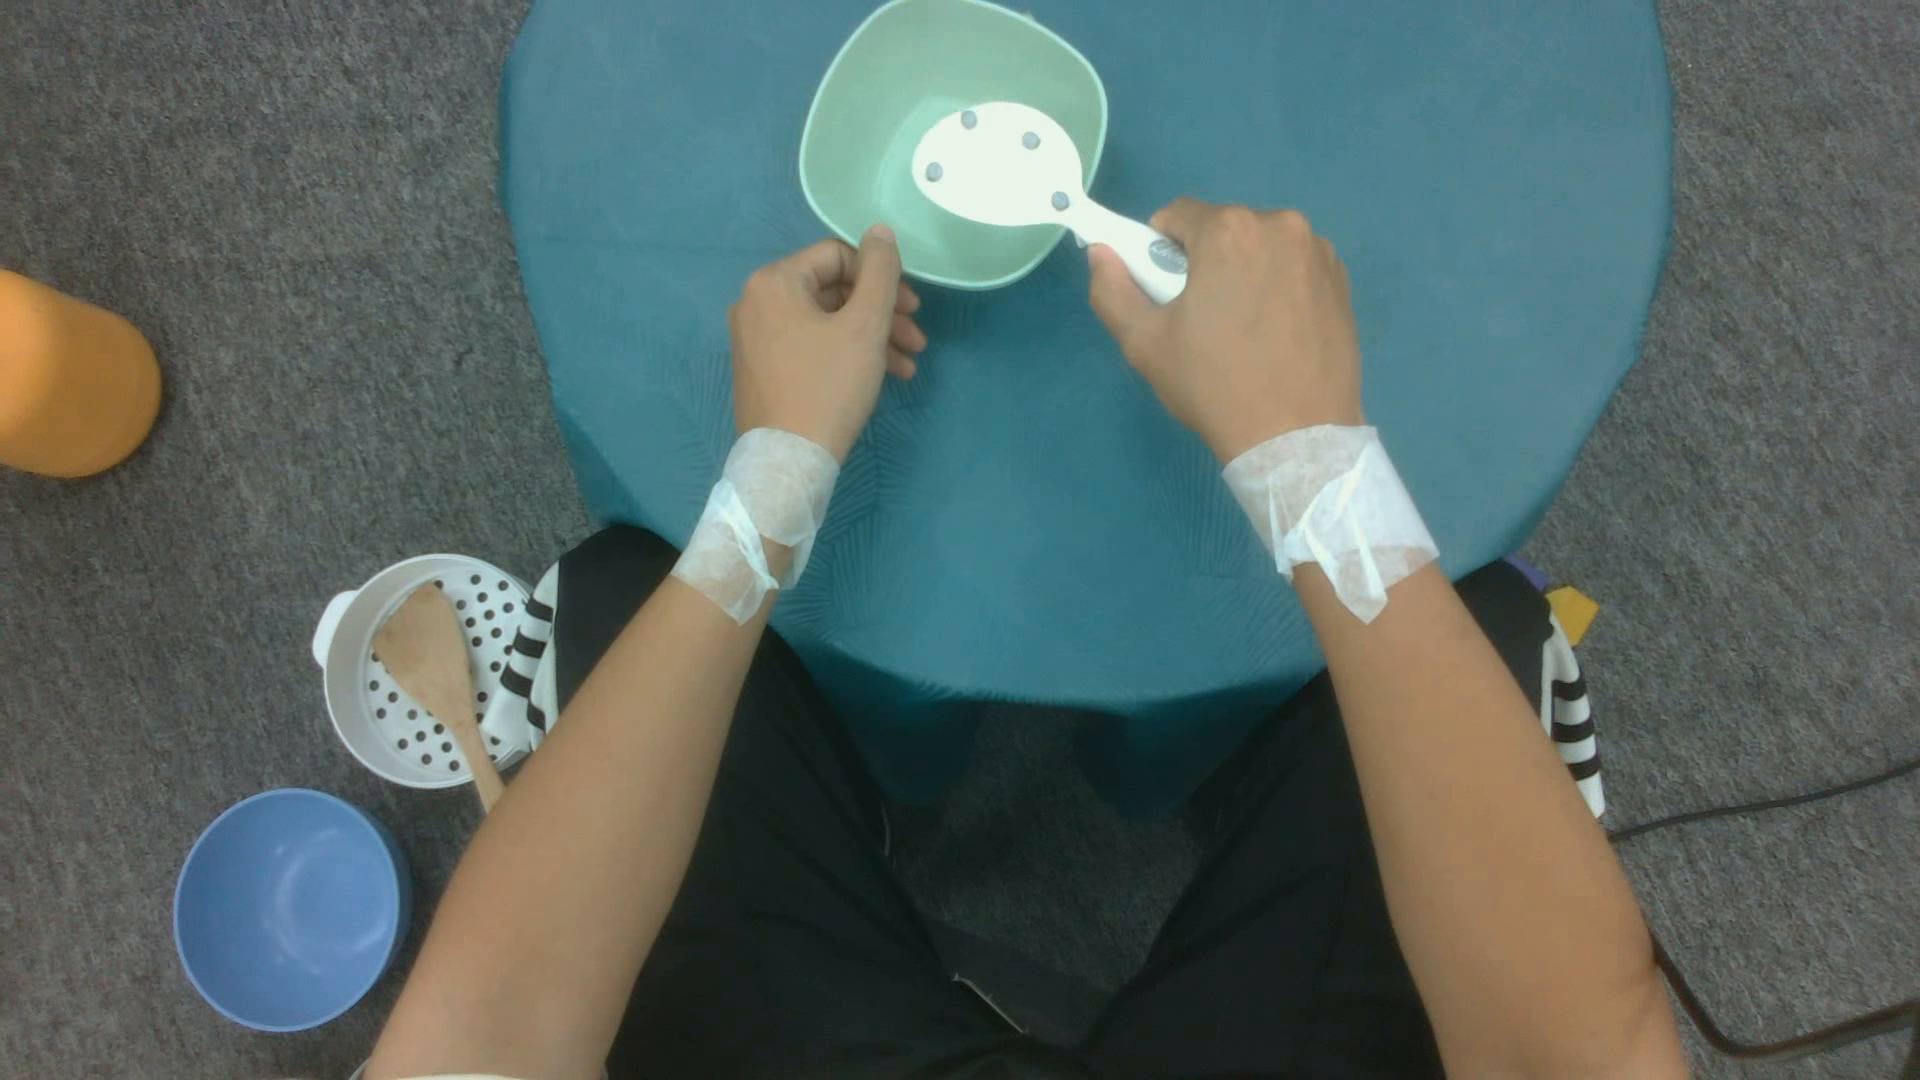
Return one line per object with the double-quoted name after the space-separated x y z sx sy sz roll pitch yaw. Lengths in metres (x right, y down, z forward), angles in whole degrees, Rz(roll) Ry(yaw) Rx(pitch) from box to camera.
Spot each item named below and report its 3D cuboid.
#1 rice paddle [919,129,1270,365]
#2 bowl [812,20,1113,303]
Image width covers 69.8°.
0.054 -0.141 0.631 0.069 0.029 0.205 -41 55 -13 "rice paddle"
0.002 -0.182 0.698 0.151 0.058 0.151 0 79 2 "bowl"
